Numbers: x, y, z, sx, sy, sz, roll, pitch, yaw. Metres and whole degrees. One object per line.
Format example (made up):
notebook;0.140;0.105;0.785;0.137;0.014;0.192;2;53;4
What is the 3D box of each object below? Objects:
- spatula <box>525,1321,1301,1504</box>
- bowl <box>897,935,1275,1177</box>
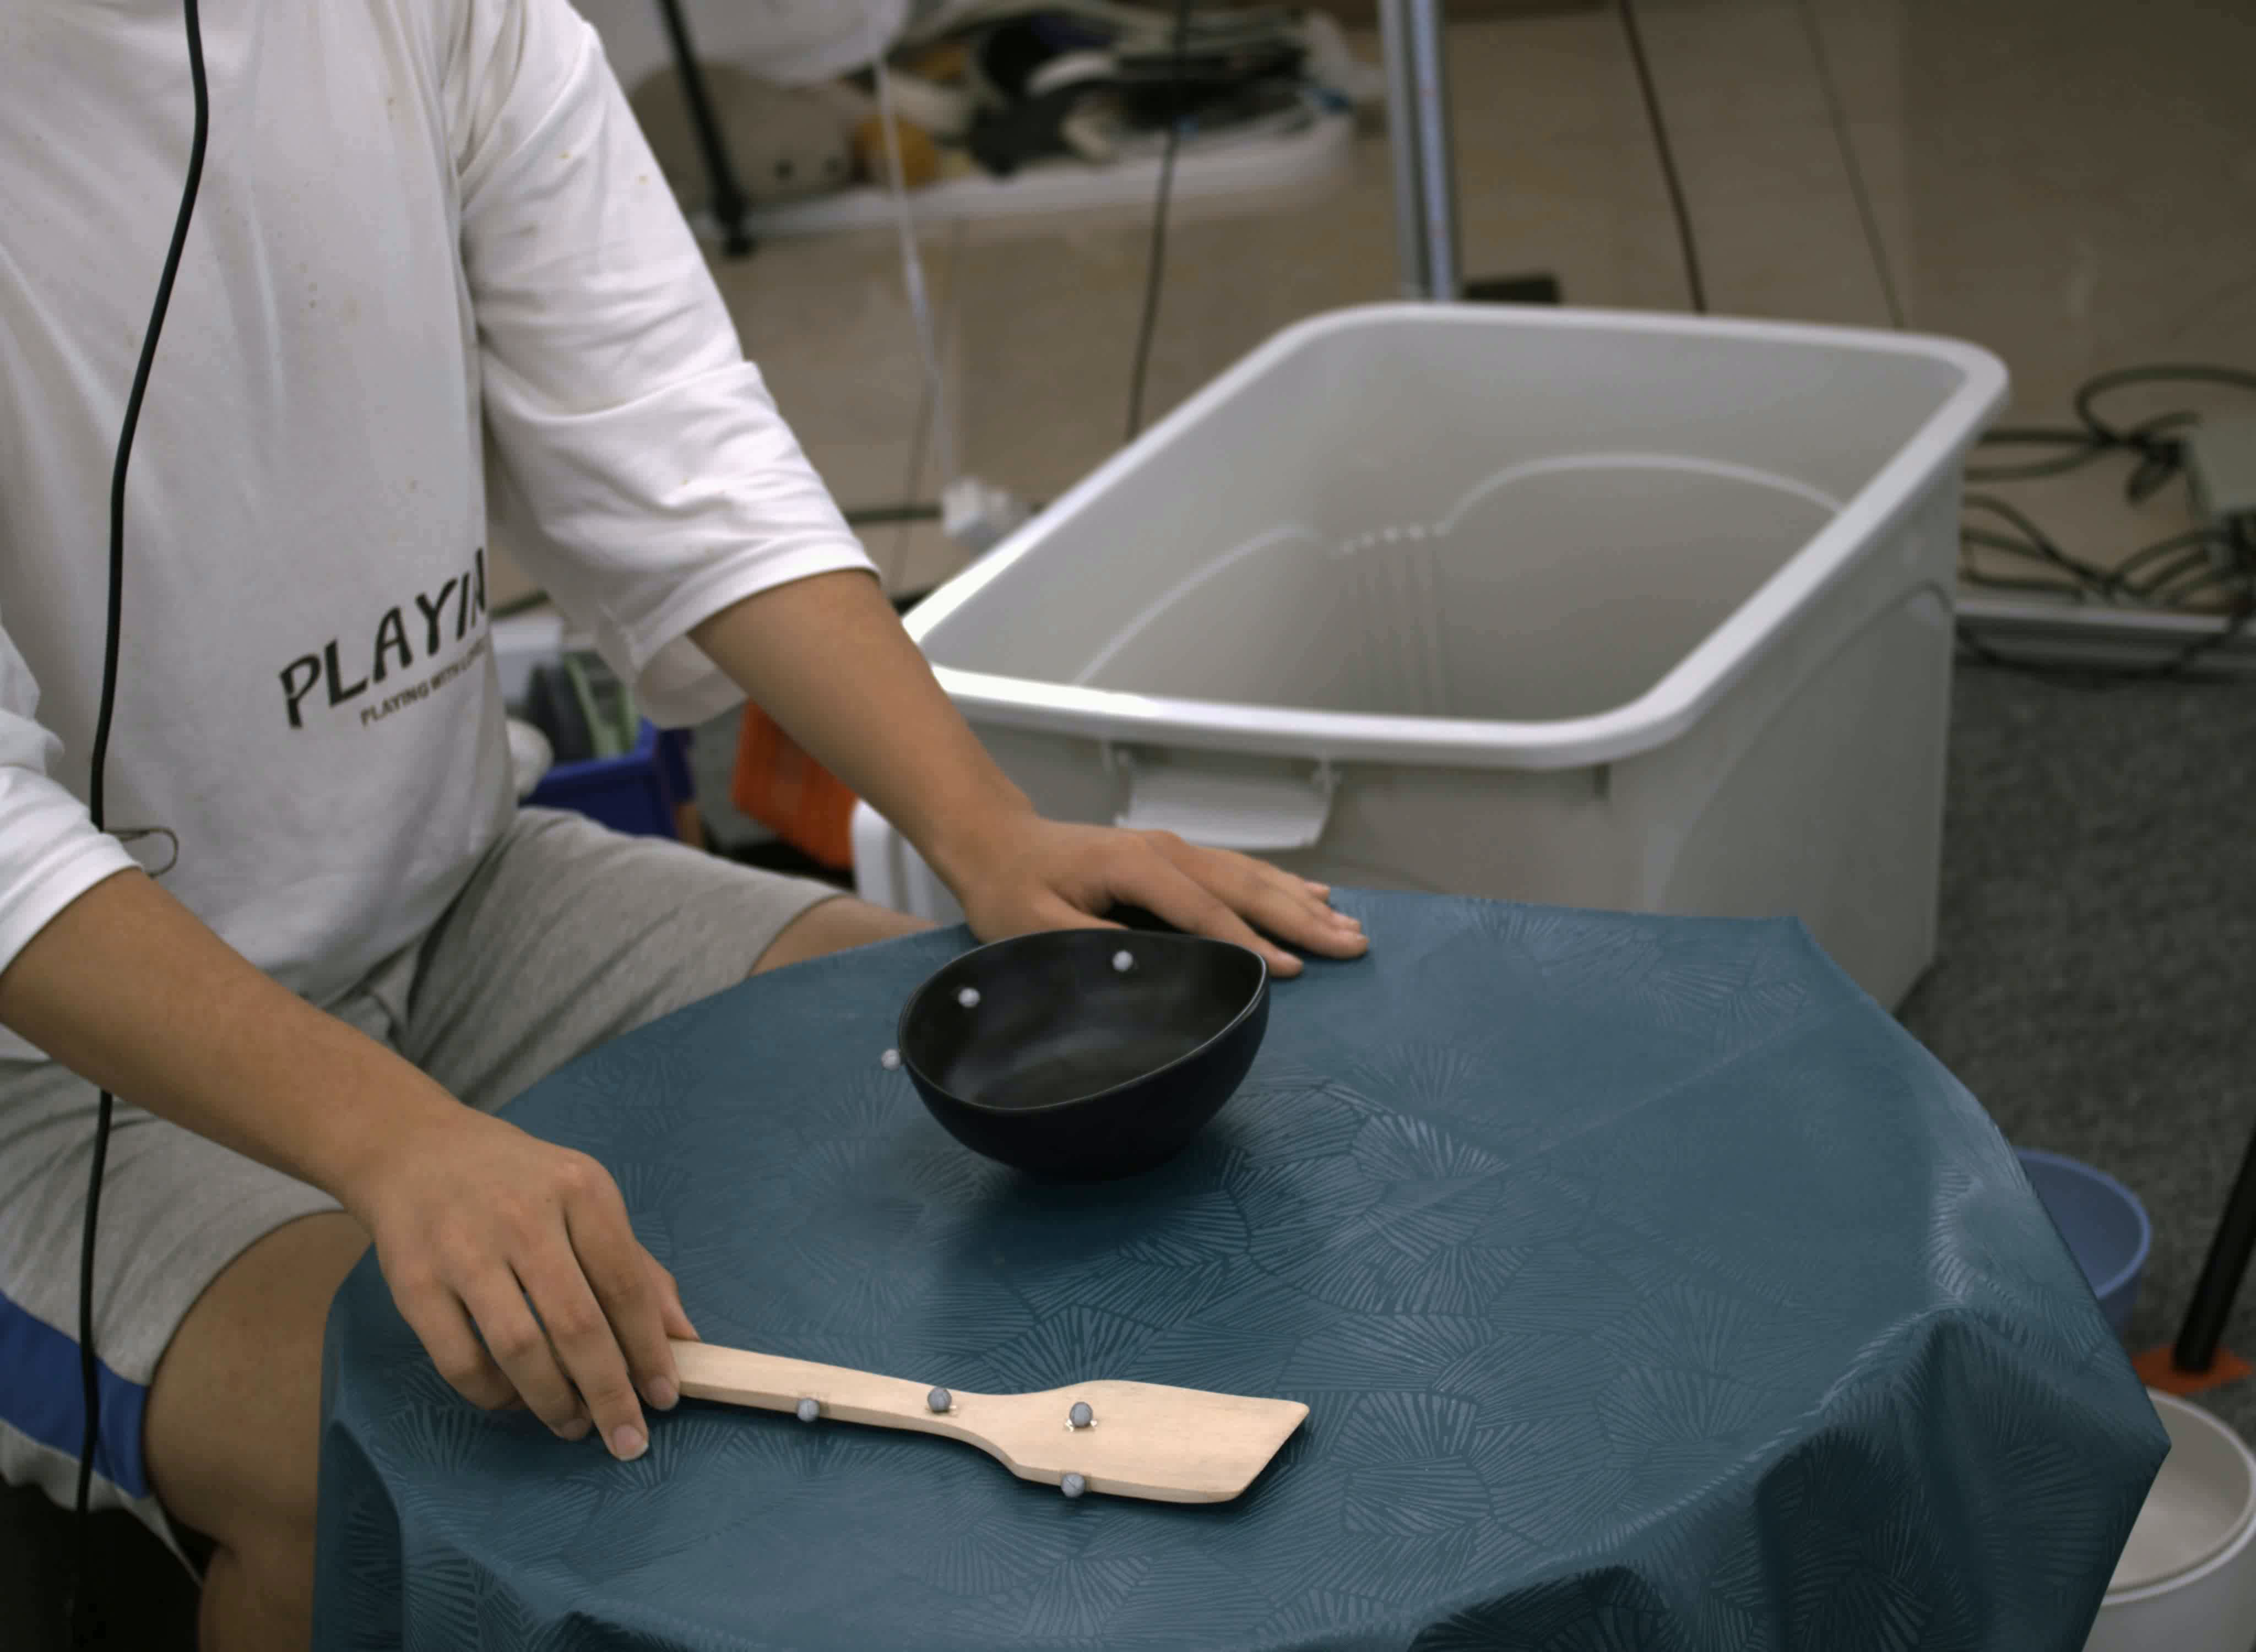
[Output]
spatula;-0.084;0.203;2.011;0.292;0.011;0.071;6;25;23
bowl;-0.013;0.092;2.174;0.137;0.068;0.168;6;26;26
